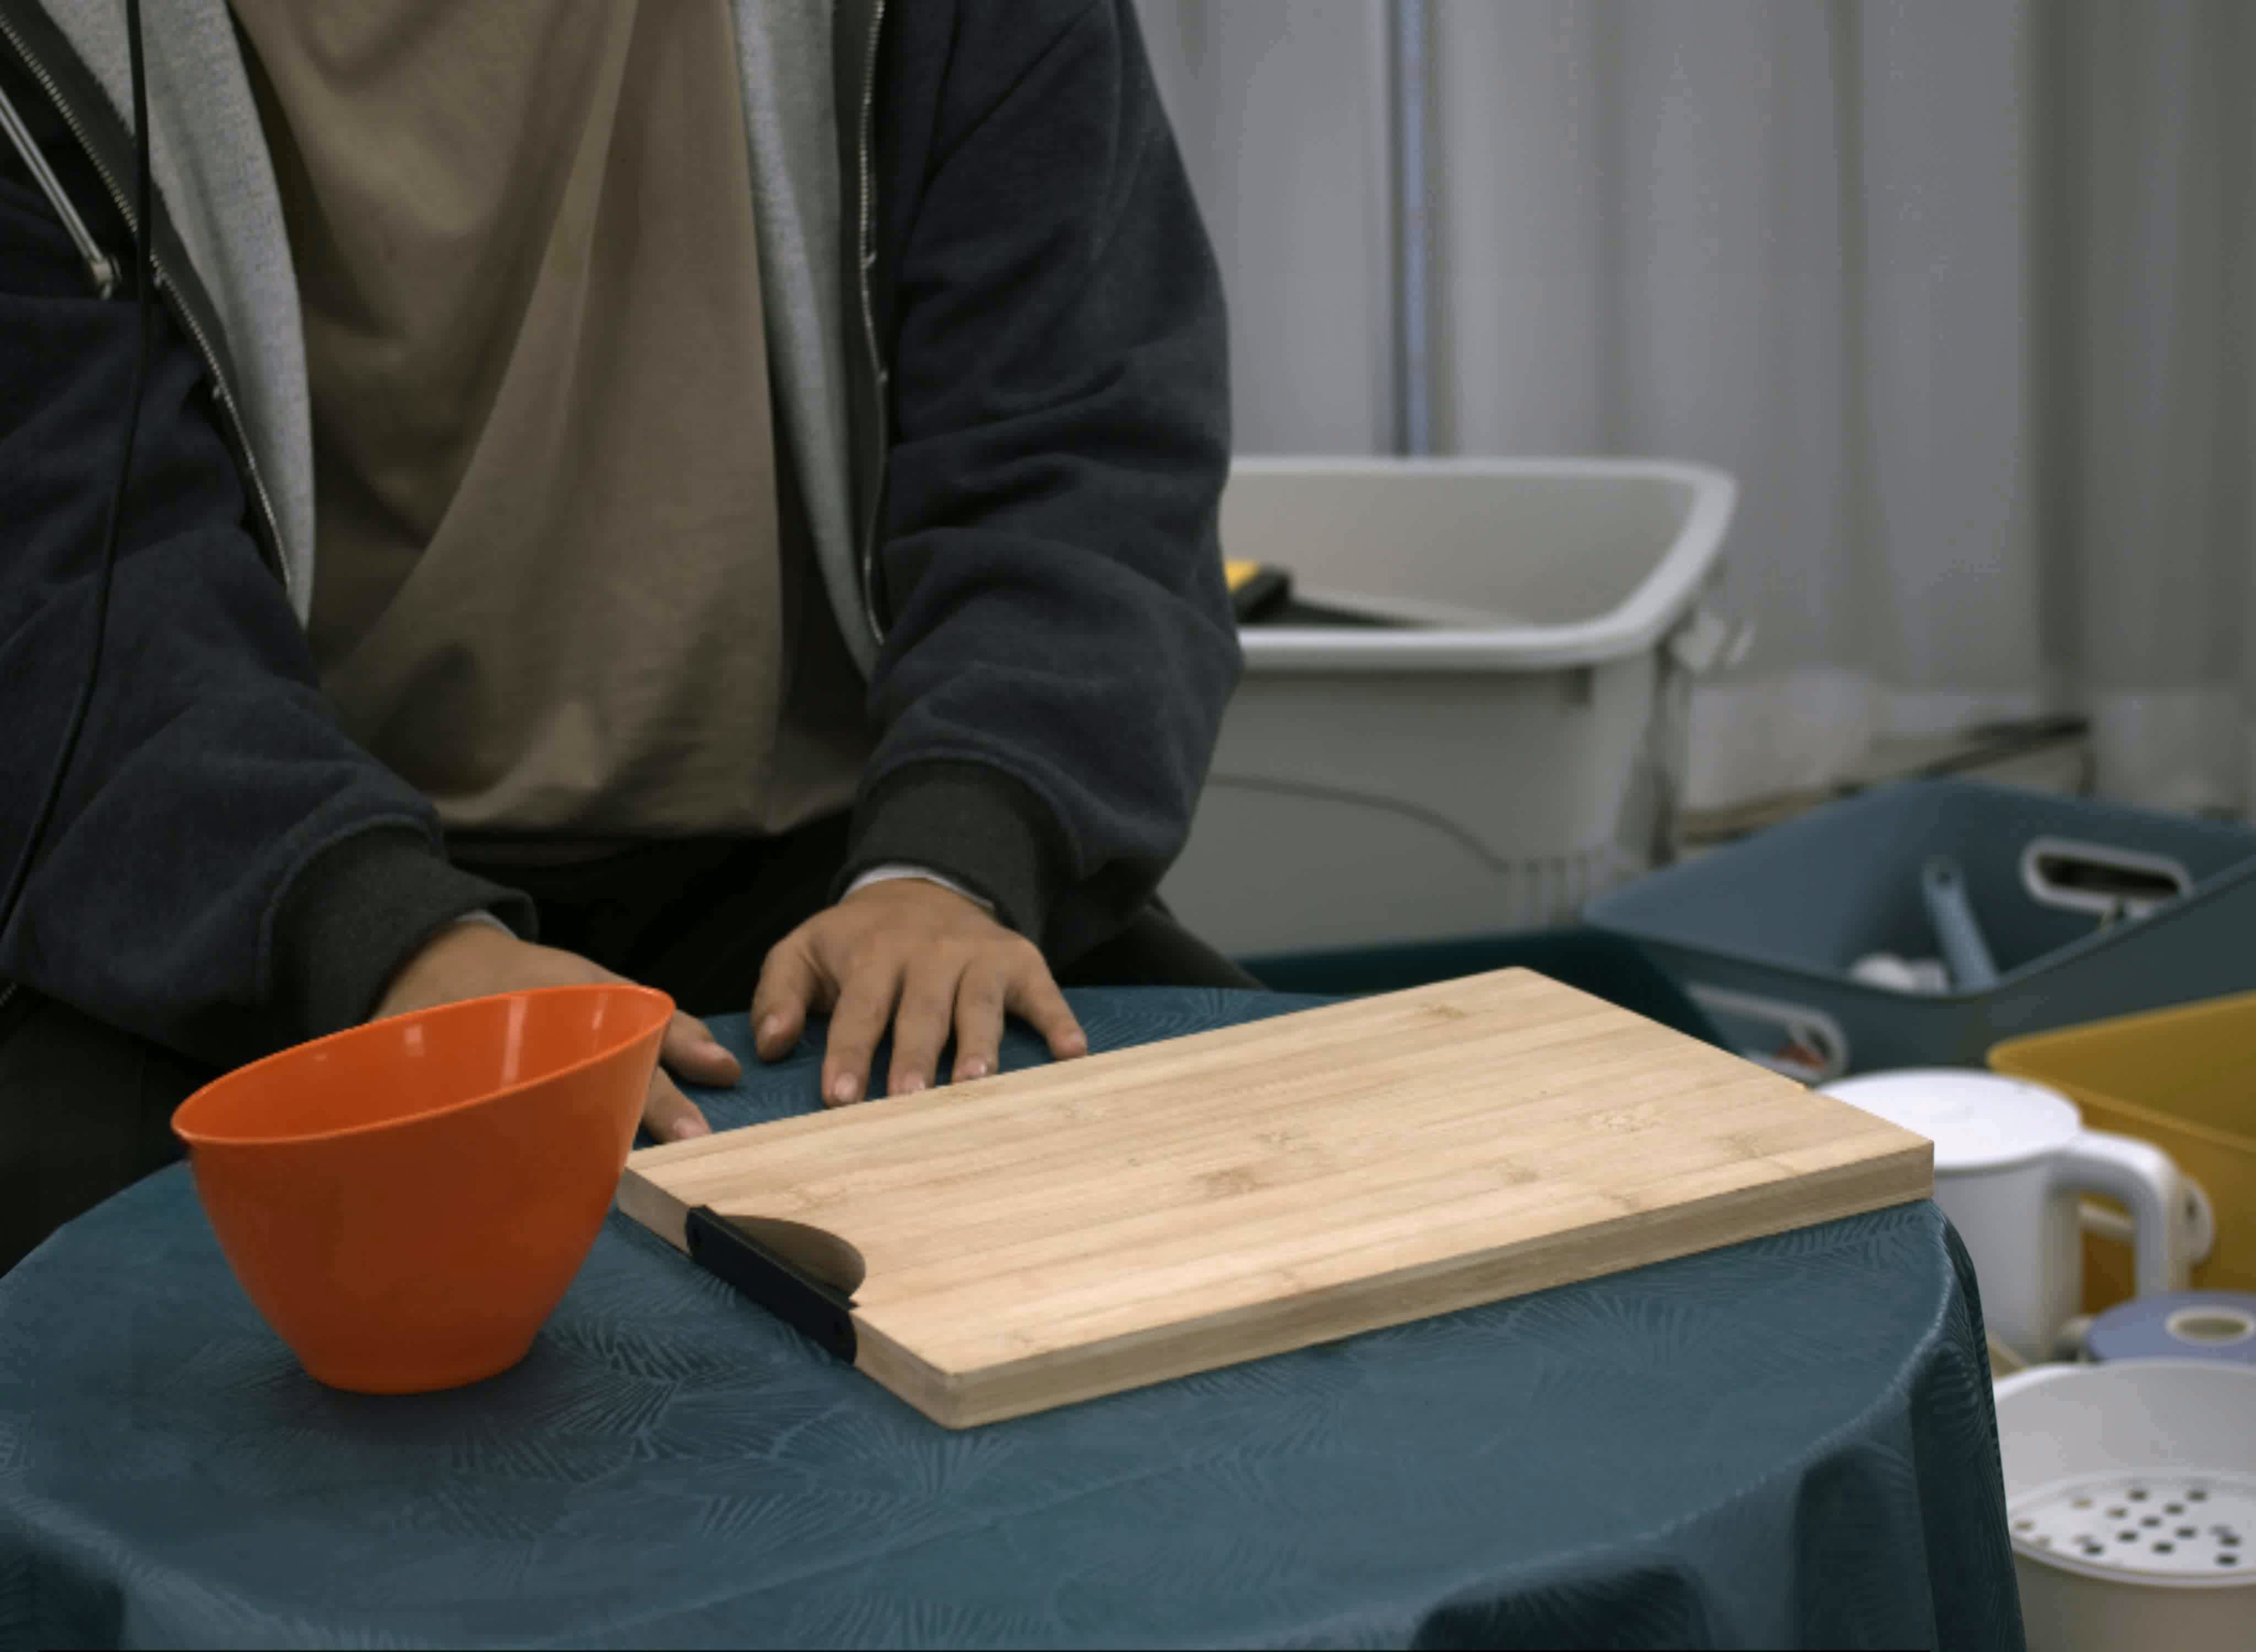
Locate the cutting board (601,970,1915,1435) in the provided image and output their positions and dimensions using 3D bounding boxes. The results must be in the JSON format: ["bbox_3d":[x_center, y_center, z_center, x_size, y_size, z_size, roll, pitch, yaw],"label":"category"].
[{"bbox_3d":[0.037,0.110,1.695,0.347,0.023,0.252,-11,16,-27],"label":"cutting board"}]

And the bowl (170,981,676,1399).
[{"bbox_3d":[-0.201,0.107,1.587,0.147,0.104,0.149,-3,16,1],"label":"bowl"}]
